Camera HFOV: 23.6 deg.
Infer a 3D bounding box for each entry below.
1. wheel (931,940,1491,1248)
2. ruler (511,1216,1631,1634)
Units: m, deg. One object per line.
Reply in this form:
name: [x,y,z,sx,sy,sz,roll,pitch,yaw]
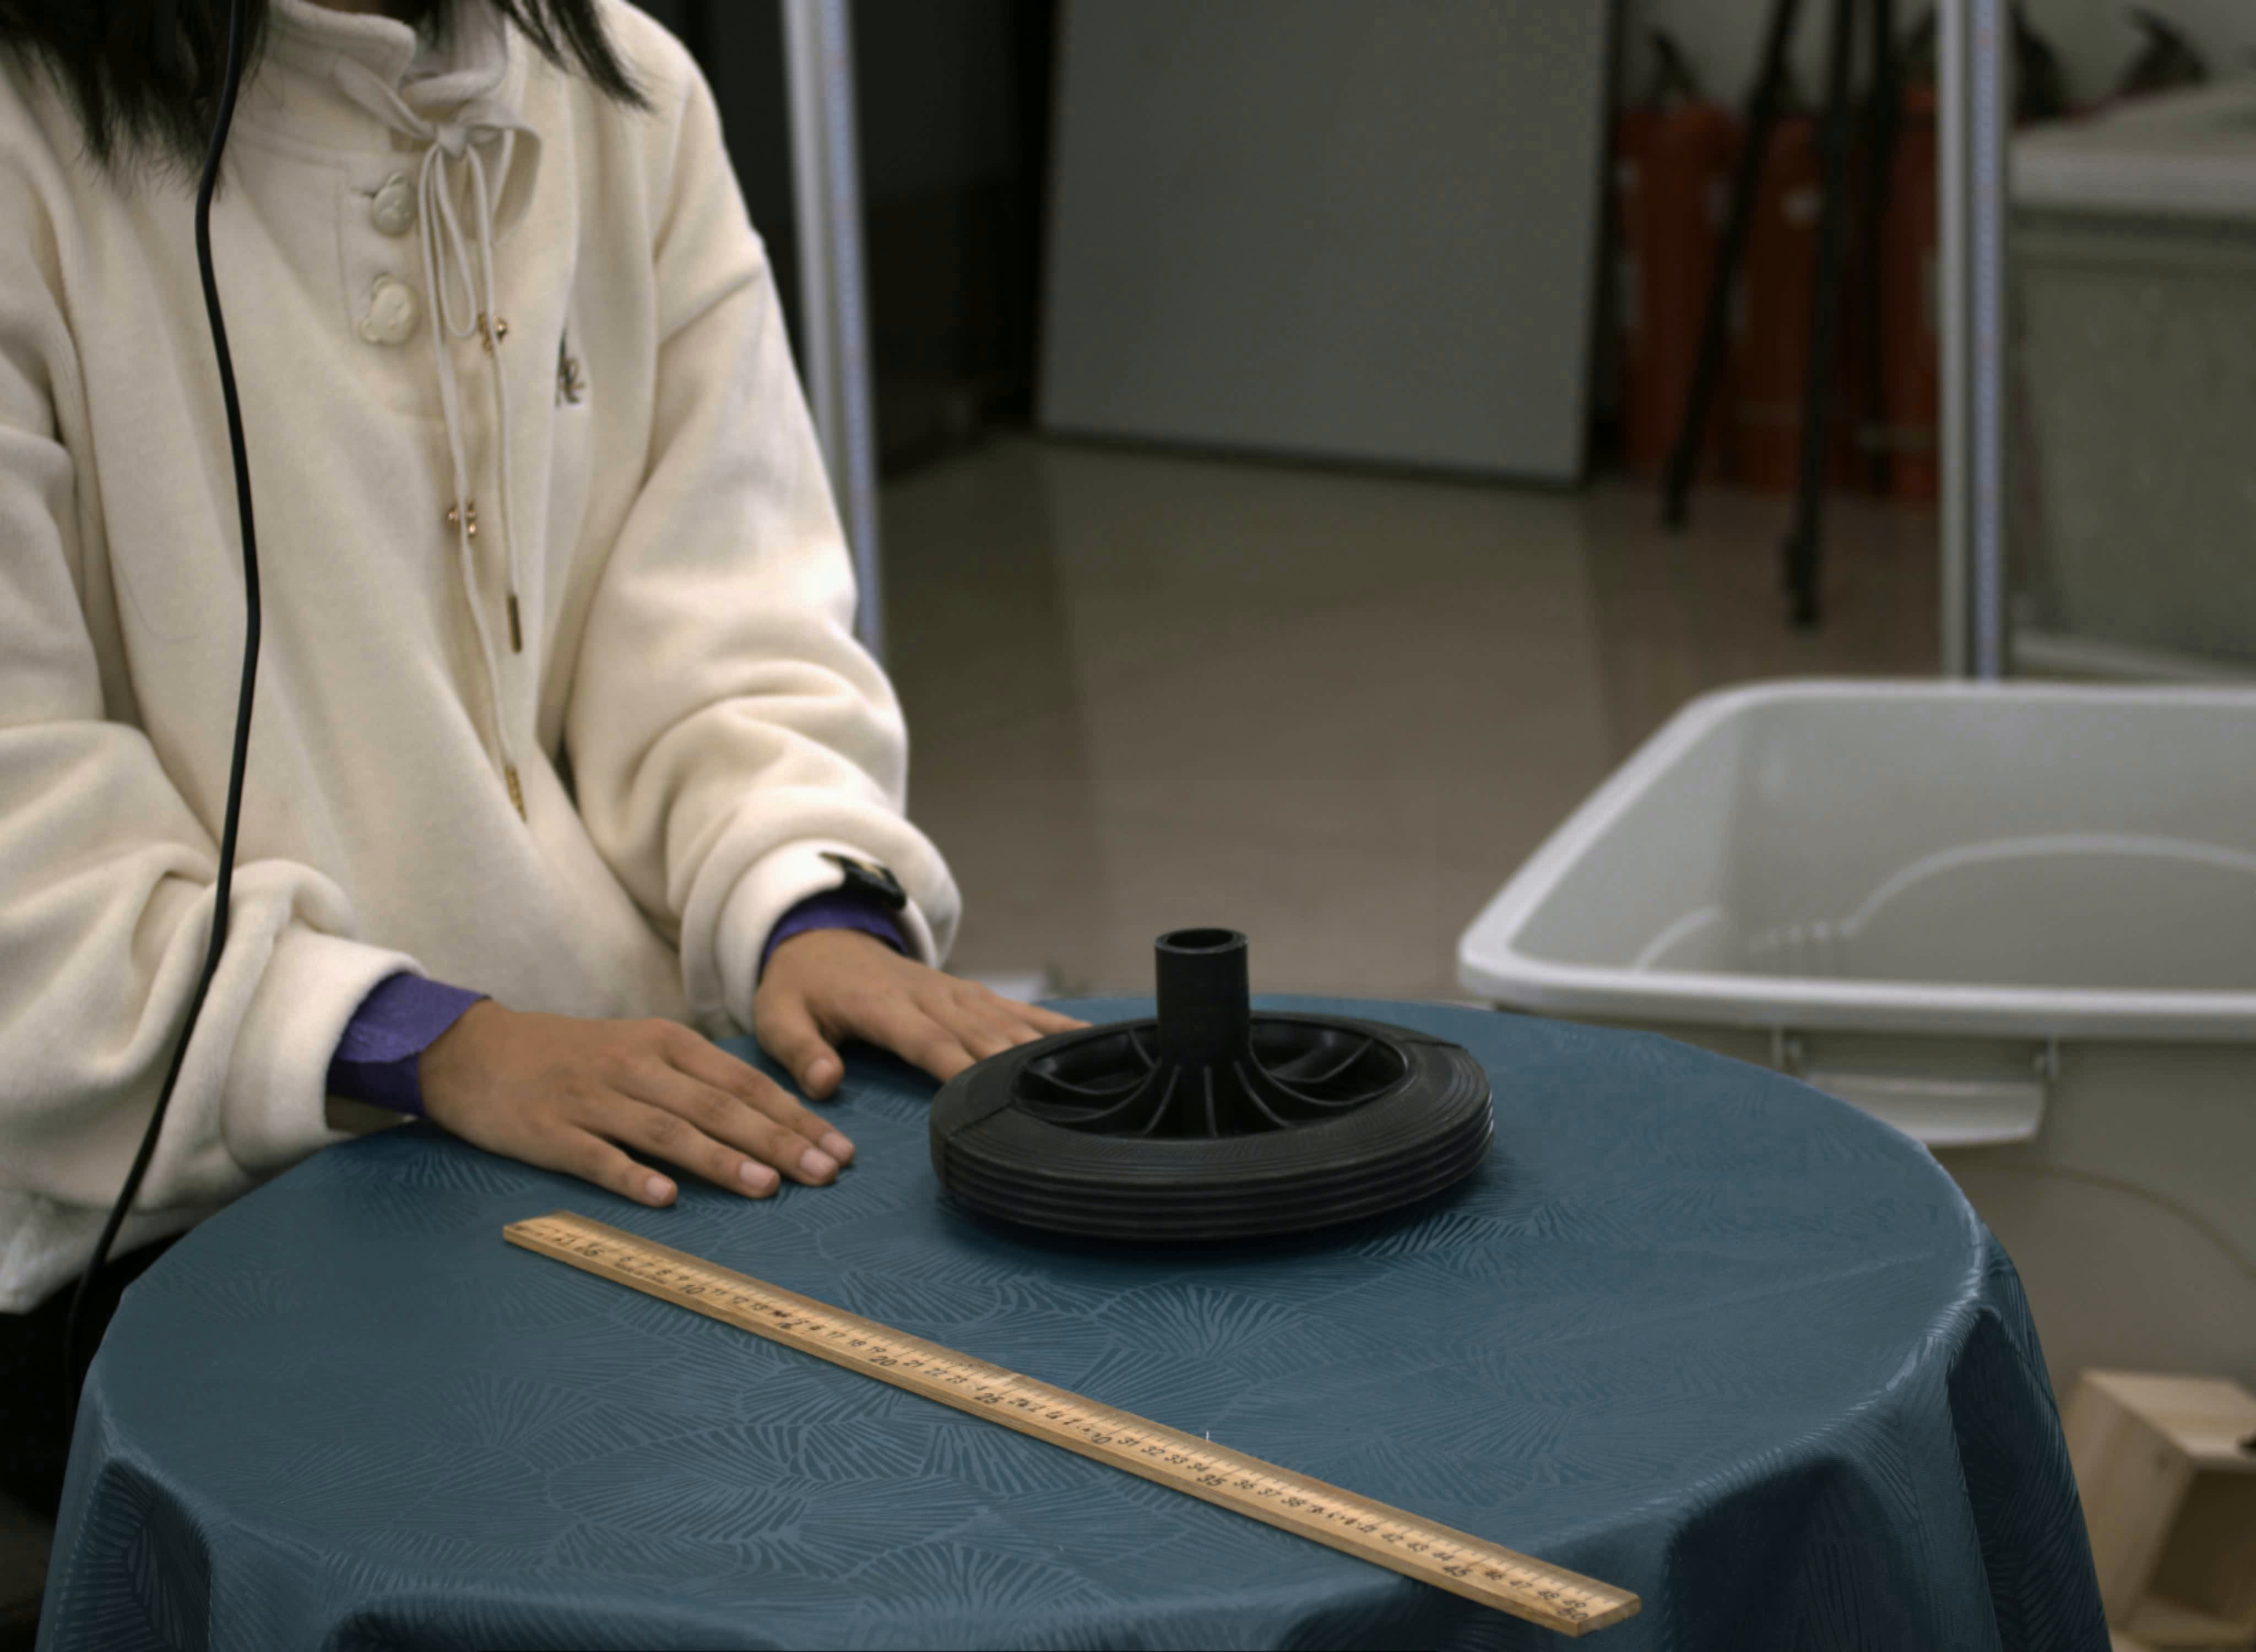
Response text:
wheel: [0.026,0.080,1.771,0.187,0.080,0.188,0,13,17]
ruler: [-0.036,0.168,1.579,0.026,0.006,0.505,-16,18,-36]
